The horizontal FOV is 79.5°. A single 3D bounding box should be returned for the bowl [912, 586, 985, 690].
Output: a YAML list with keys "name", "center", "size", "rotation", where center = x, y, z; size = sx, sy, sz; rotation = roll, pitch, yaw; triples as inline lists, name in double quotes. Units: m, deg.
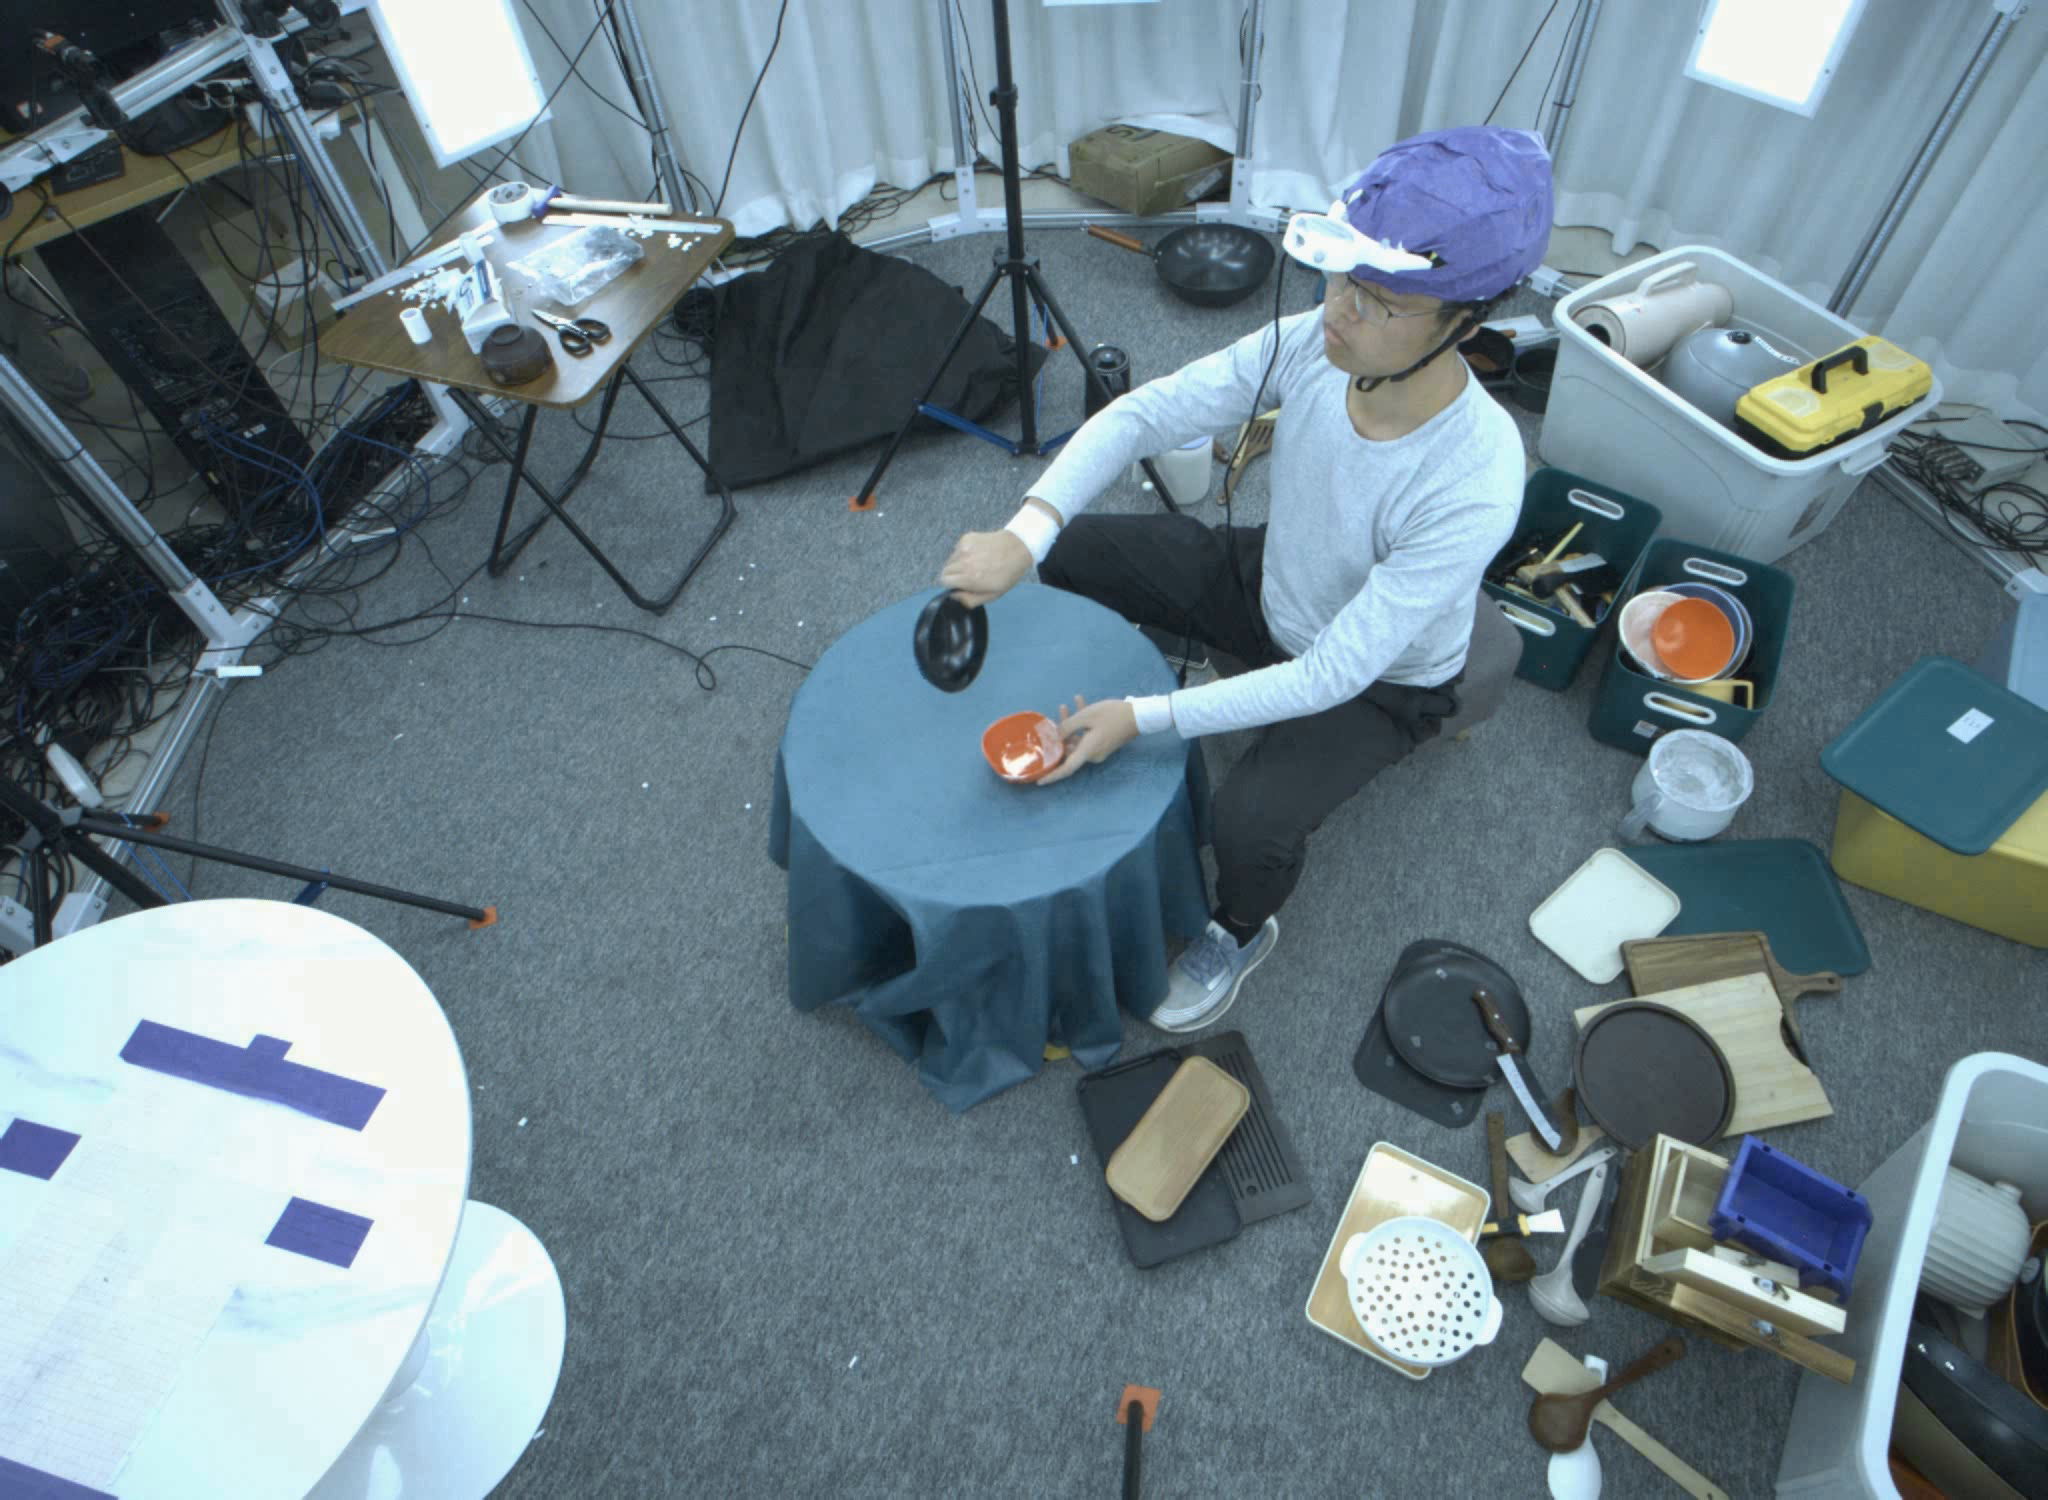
- name: "bowl"
  center: [-0.108, -0.151, 1.625]
  size: [0.049, 0.142, 0.140]
  rotation: [11, 55, 27]

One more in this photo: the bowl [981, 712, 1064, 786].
- name: "bowl"
  center: [0.000, 0.007, 1.756]
  size: [0.118, 0.052, 0.117]
  rotation: [-2, 54, 4]
